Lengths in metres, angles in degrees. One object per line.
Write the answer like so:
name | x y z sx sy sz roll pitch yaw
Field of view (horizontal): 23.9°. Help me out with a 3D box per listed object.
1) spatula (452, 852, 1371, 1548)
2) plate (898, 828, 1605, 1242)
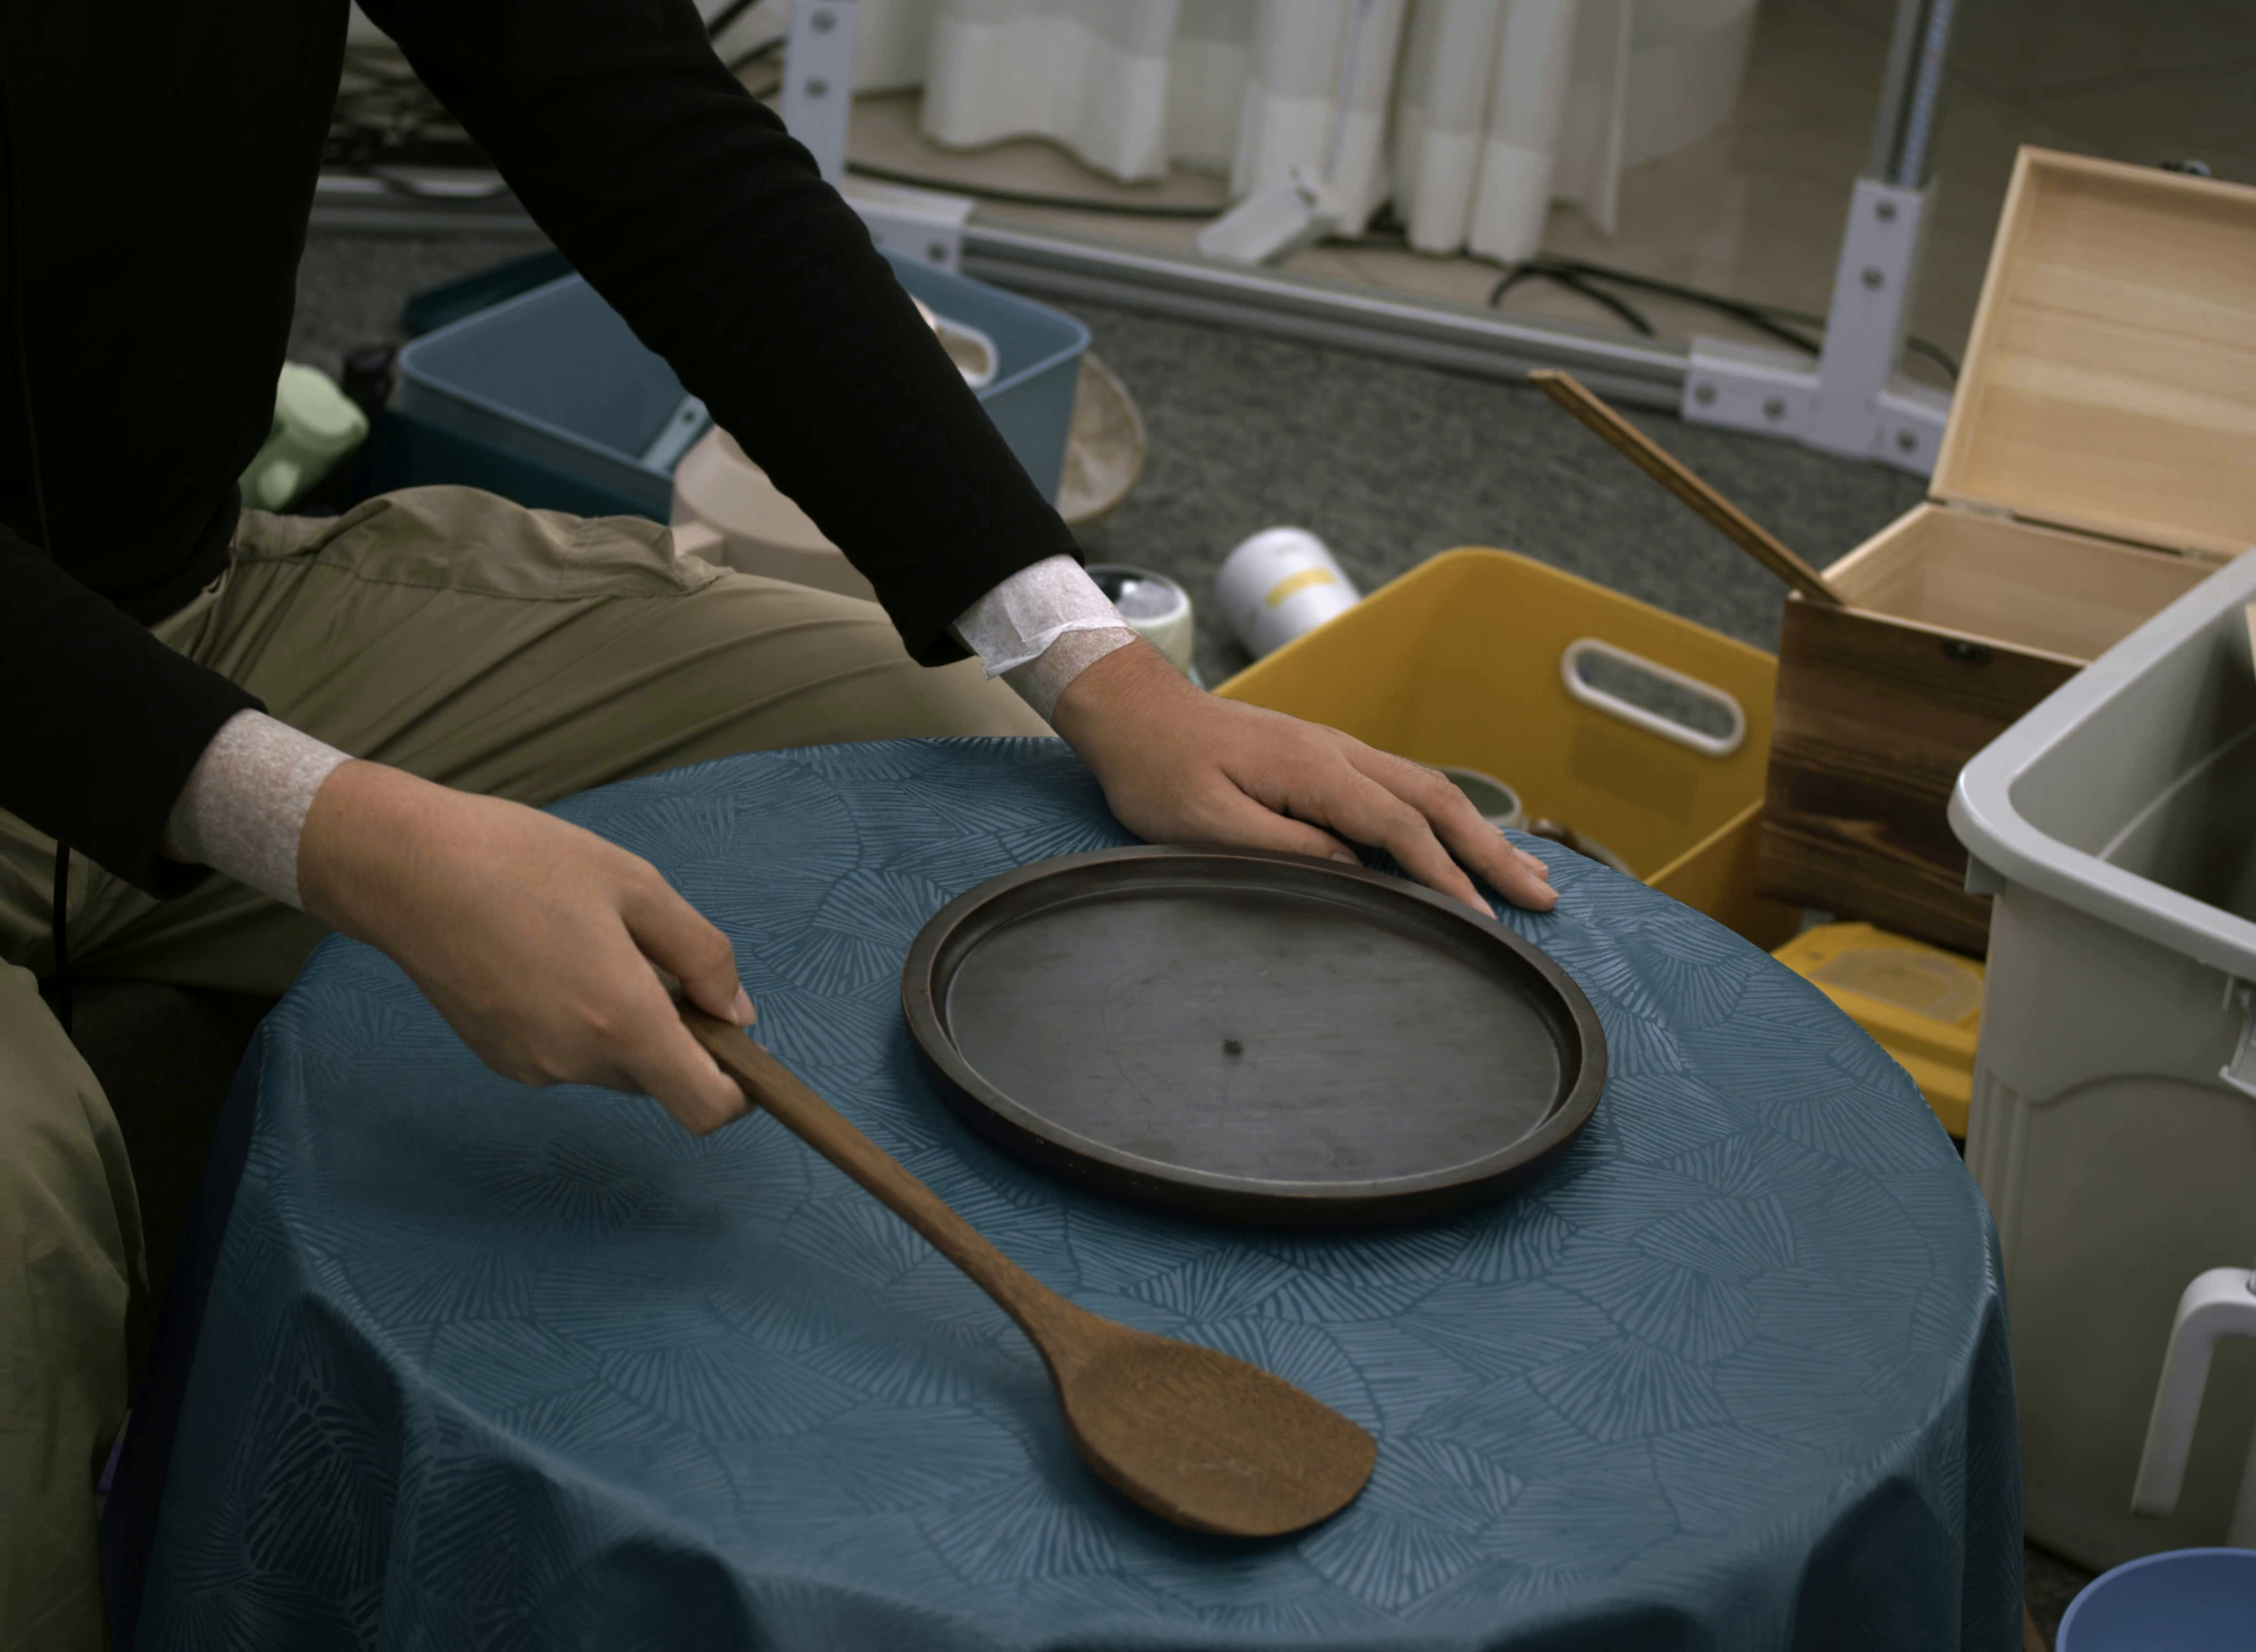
spatula | -0.083 0.112 1.715 0.388 0.016 0.095 37 33 25
plate | 0.043 0.074 1.884 0.254 0.029 0.256 5 28 -3
